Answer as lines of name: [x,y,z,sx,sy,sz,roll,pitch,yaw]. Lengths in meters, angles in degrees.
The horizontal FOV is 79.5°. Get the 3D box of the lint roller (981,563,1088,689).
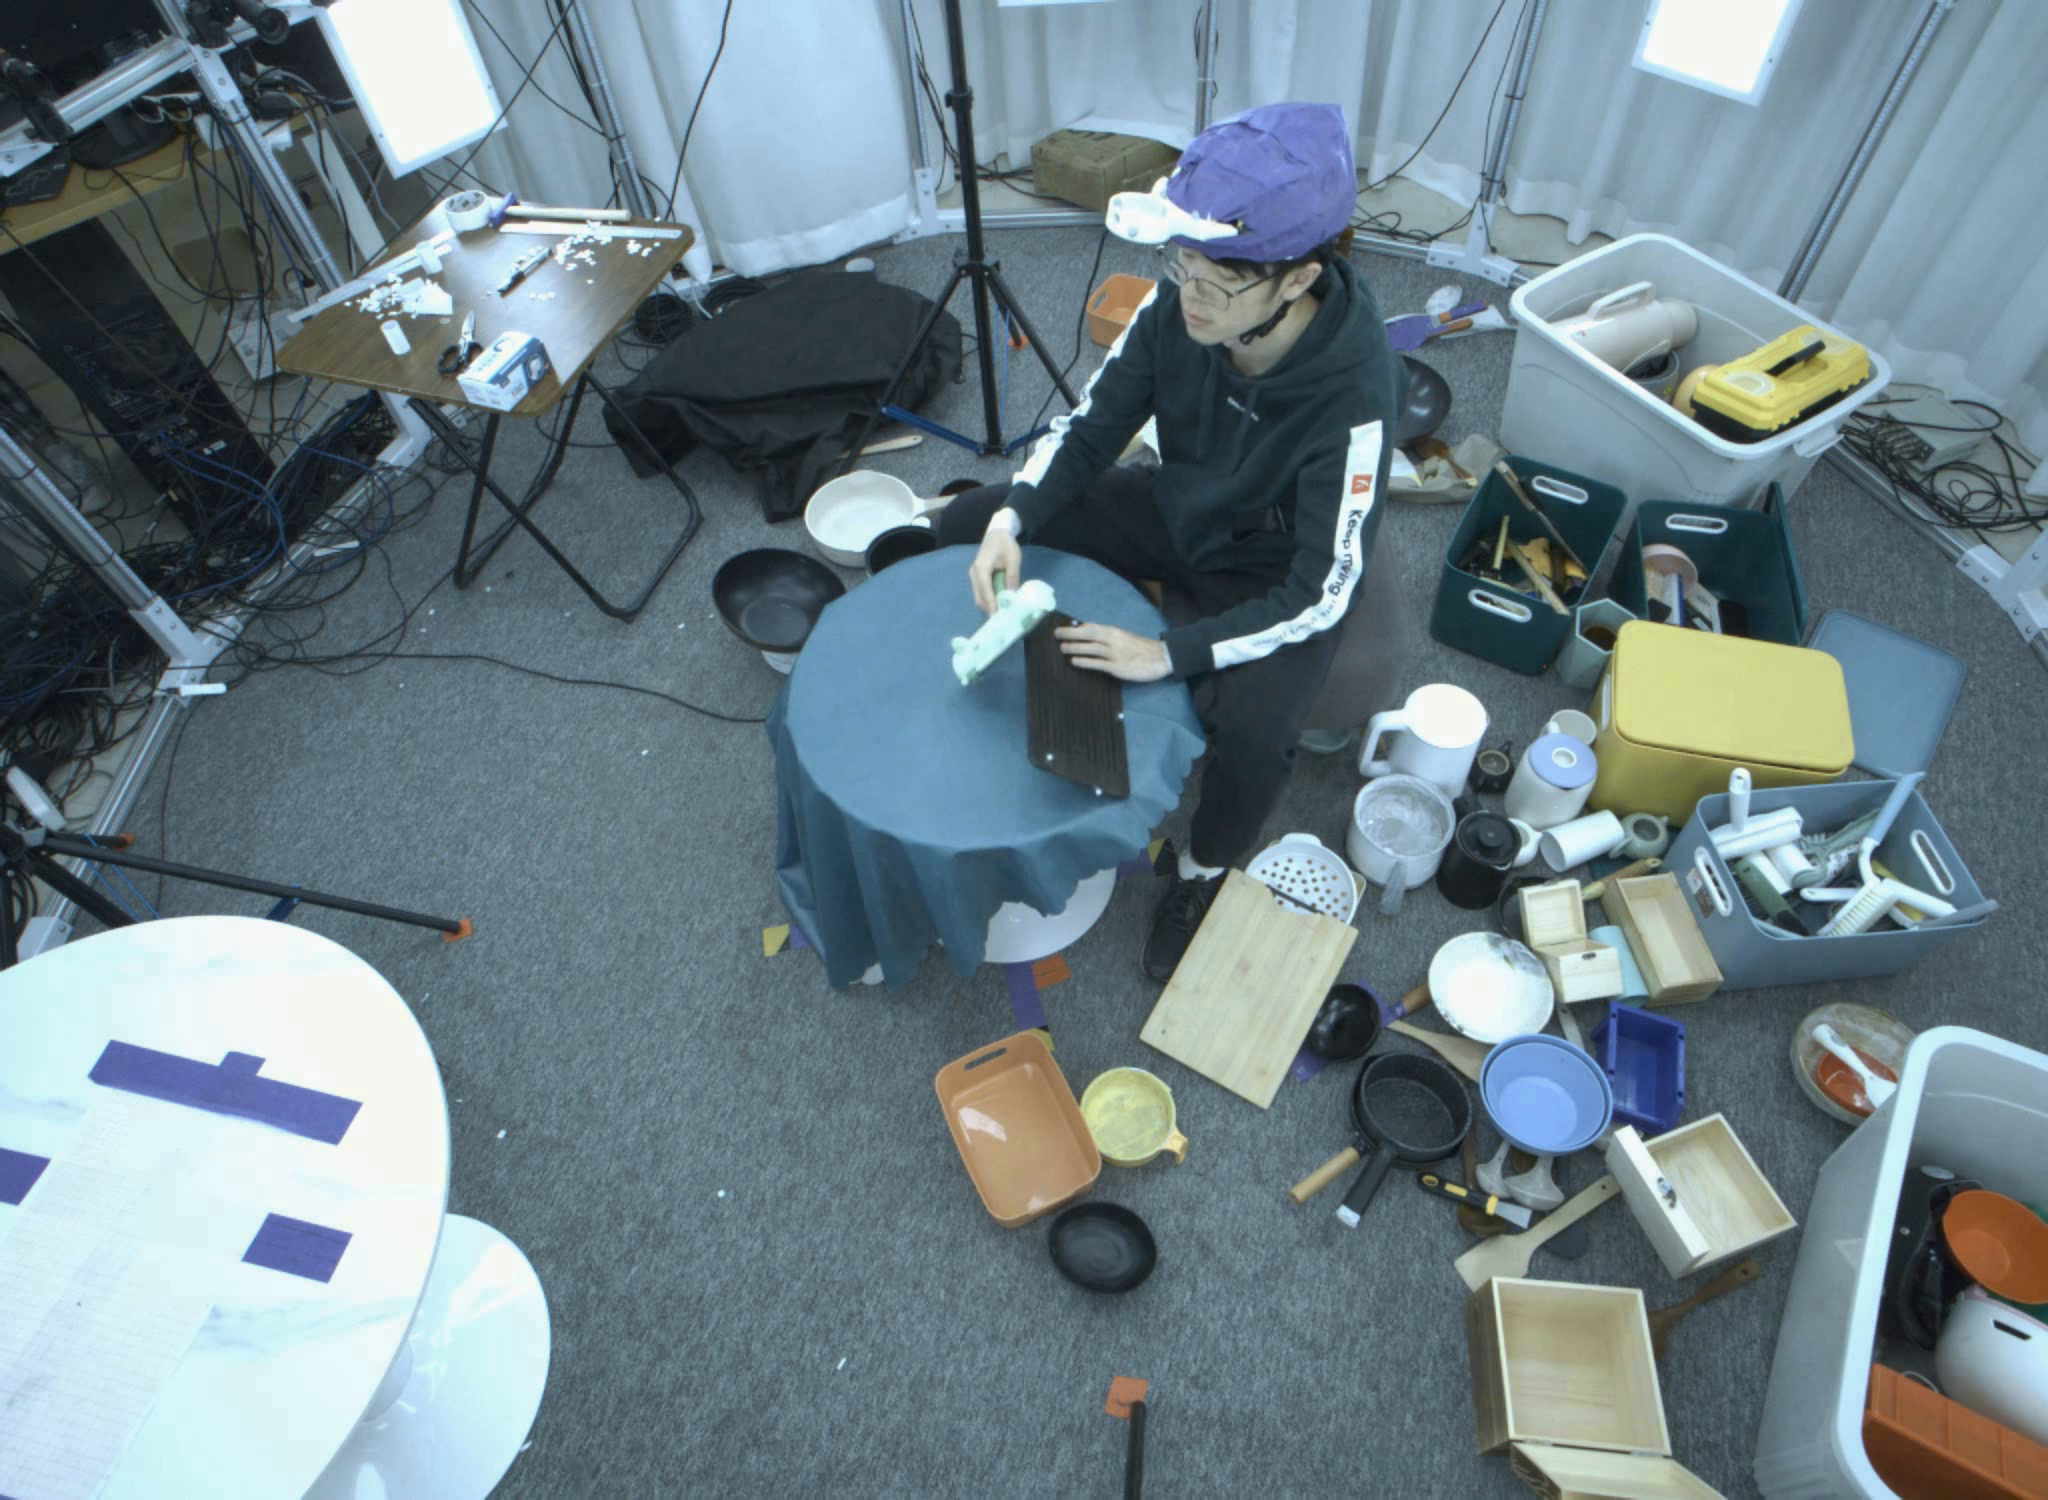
lint roller: [0.001,-0.209,1.782,0.084,0.196,0.181,16,51,-36]

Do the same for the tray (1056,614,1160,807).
tray: [0.115,-0.066,1.763,0.173,0.018,0.302,22,49,-28]
